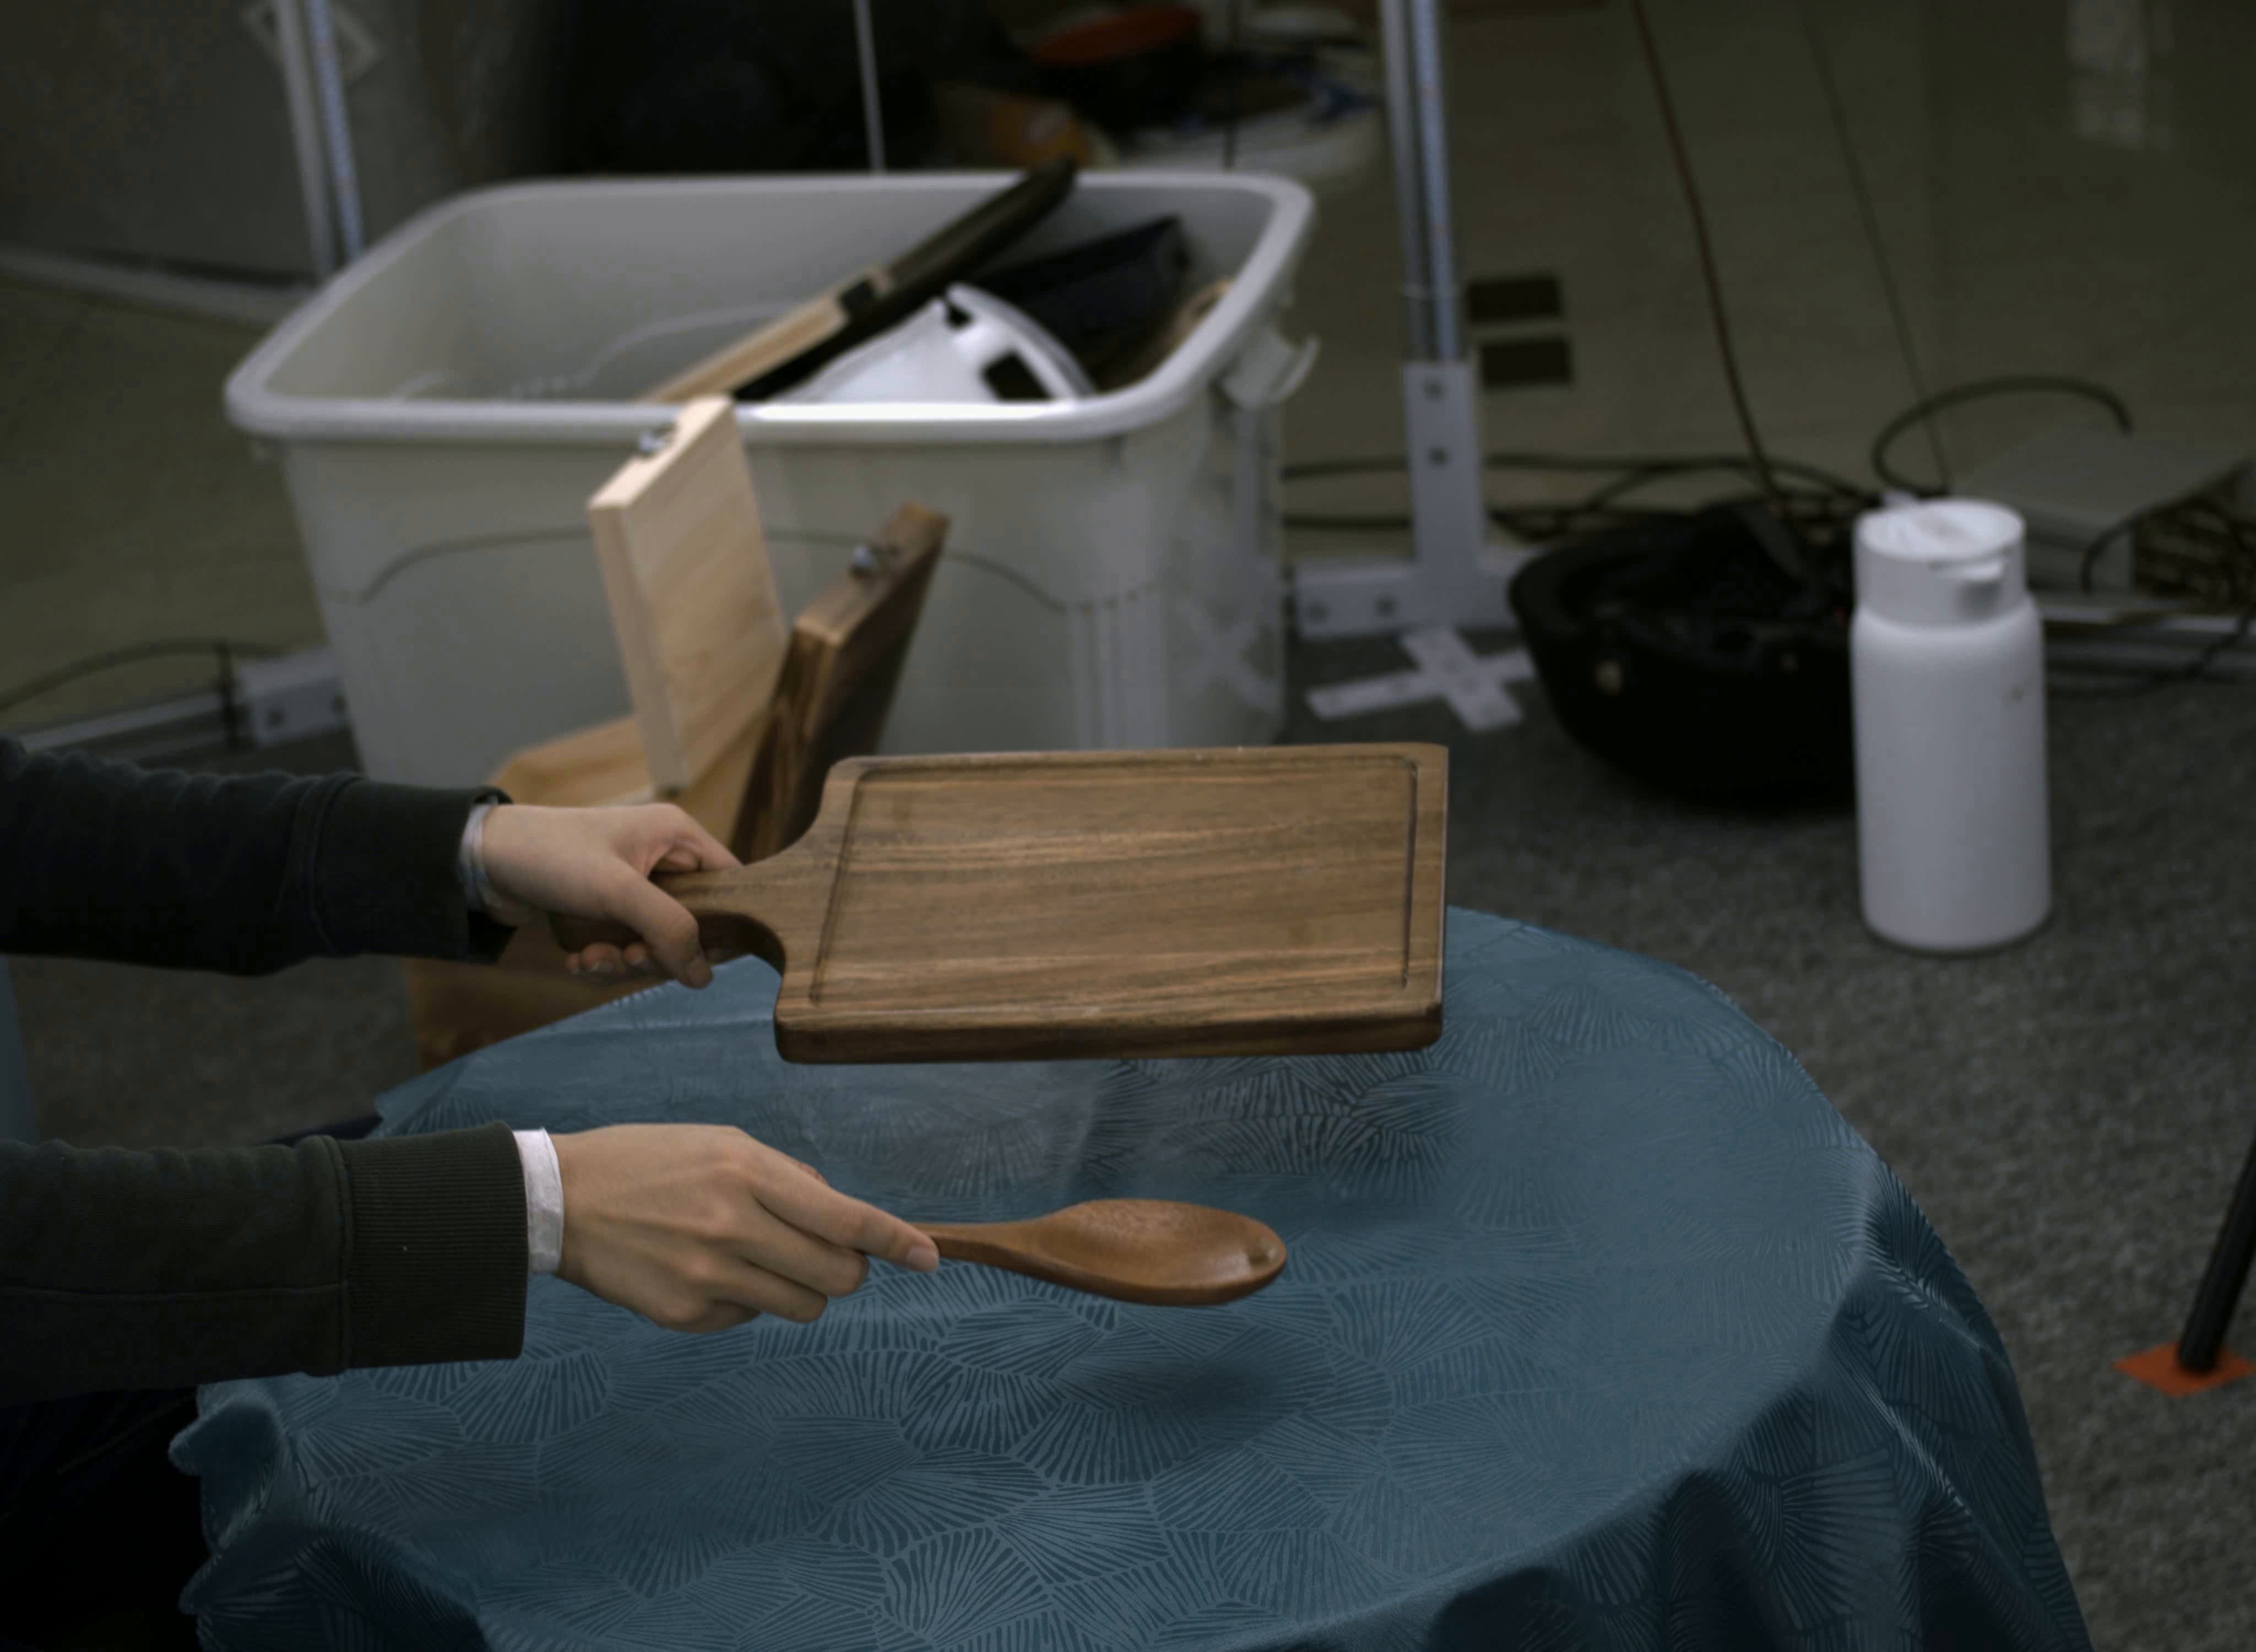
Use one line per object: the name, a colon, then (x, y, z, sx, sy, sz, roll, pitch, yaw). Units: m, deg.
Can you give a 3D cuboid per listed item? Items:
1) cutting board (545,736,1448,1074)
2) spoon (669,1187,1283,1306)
cutting board: (-0.051, 0.030, 2.191, 0.351, 0.023, 0.197, -2, 34, 6)
spoon: (-0.053, 0.144, 1.986, 0.215, 0.017, 0.074, 5, 23, -6)
